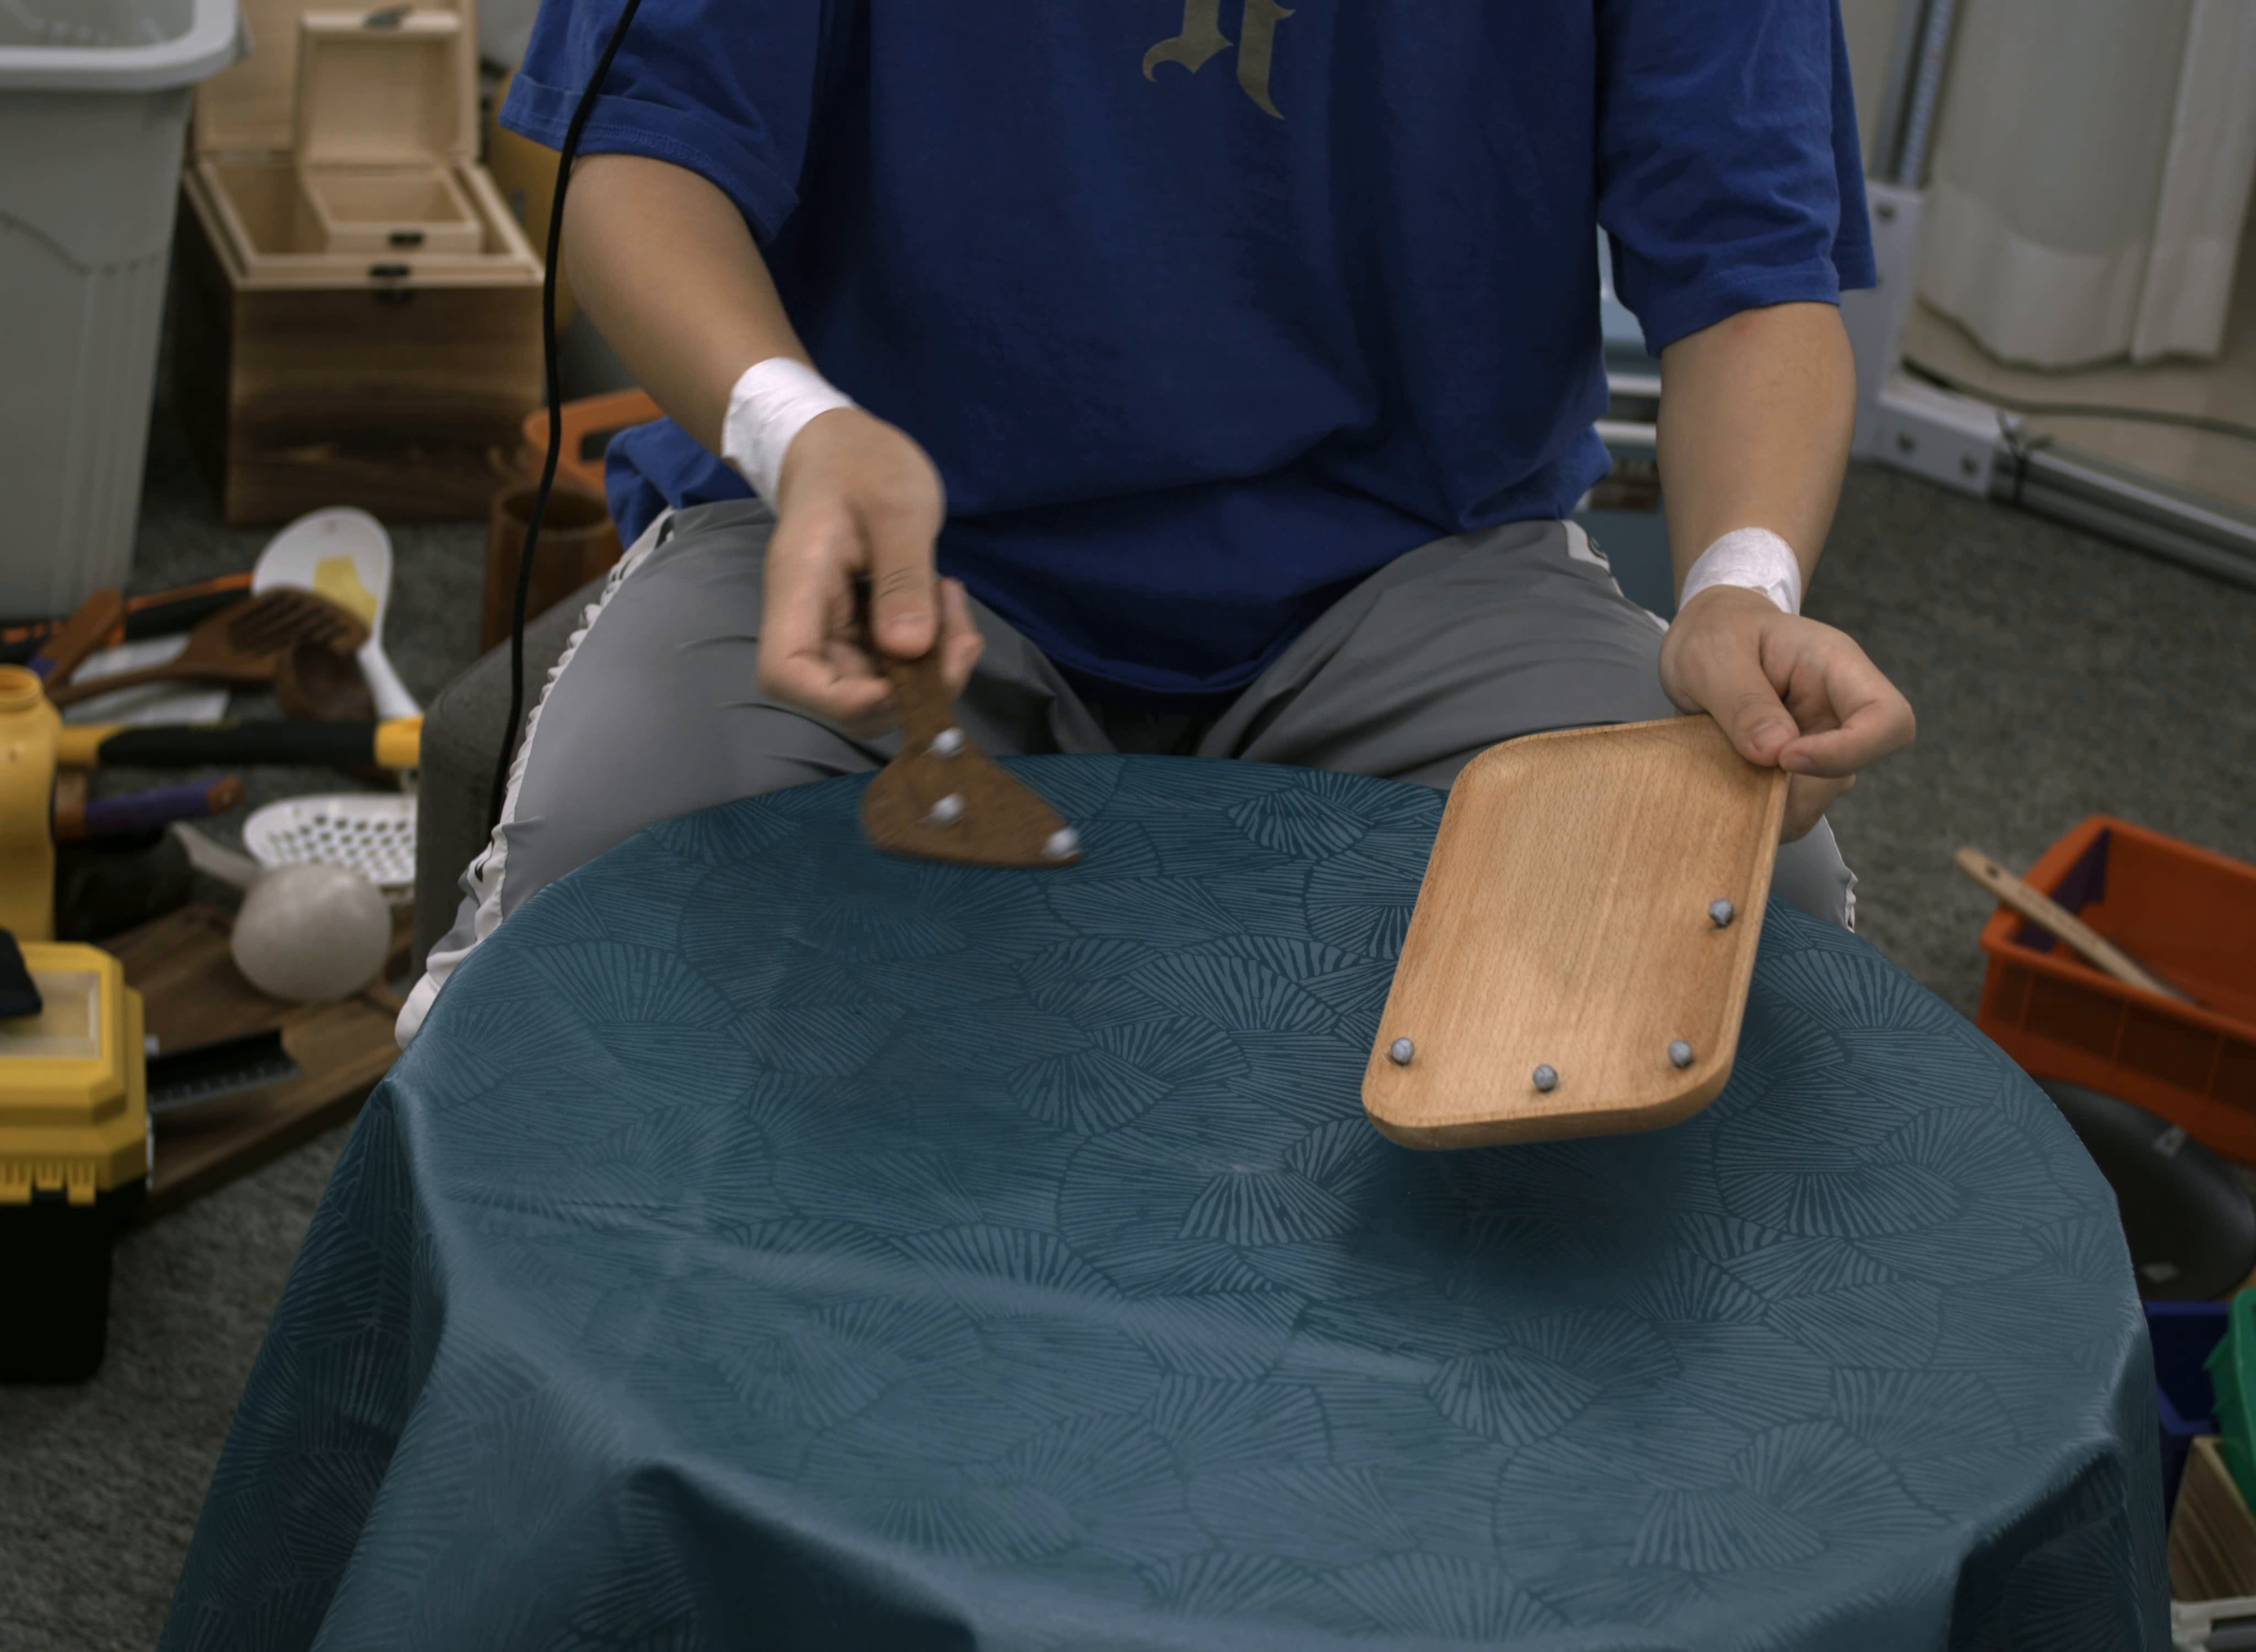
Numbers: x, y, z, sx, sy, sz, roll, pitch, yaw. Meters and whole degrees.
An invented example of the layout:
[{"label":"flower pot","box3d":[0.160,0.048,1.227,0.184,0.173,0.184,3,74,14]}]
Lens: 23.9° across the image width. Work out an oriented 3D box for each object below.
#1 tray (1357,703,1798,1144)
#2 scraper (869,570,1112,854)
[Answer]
[{"label":"tray","box3d":[0.159,0.032,1.850,0.130,0.023,0.251,-5,30,18]},{"label":"scraper","box3d":[-0.061,-0.041,1.877,0.075,0.011,0.213,7,27,-17]}]
